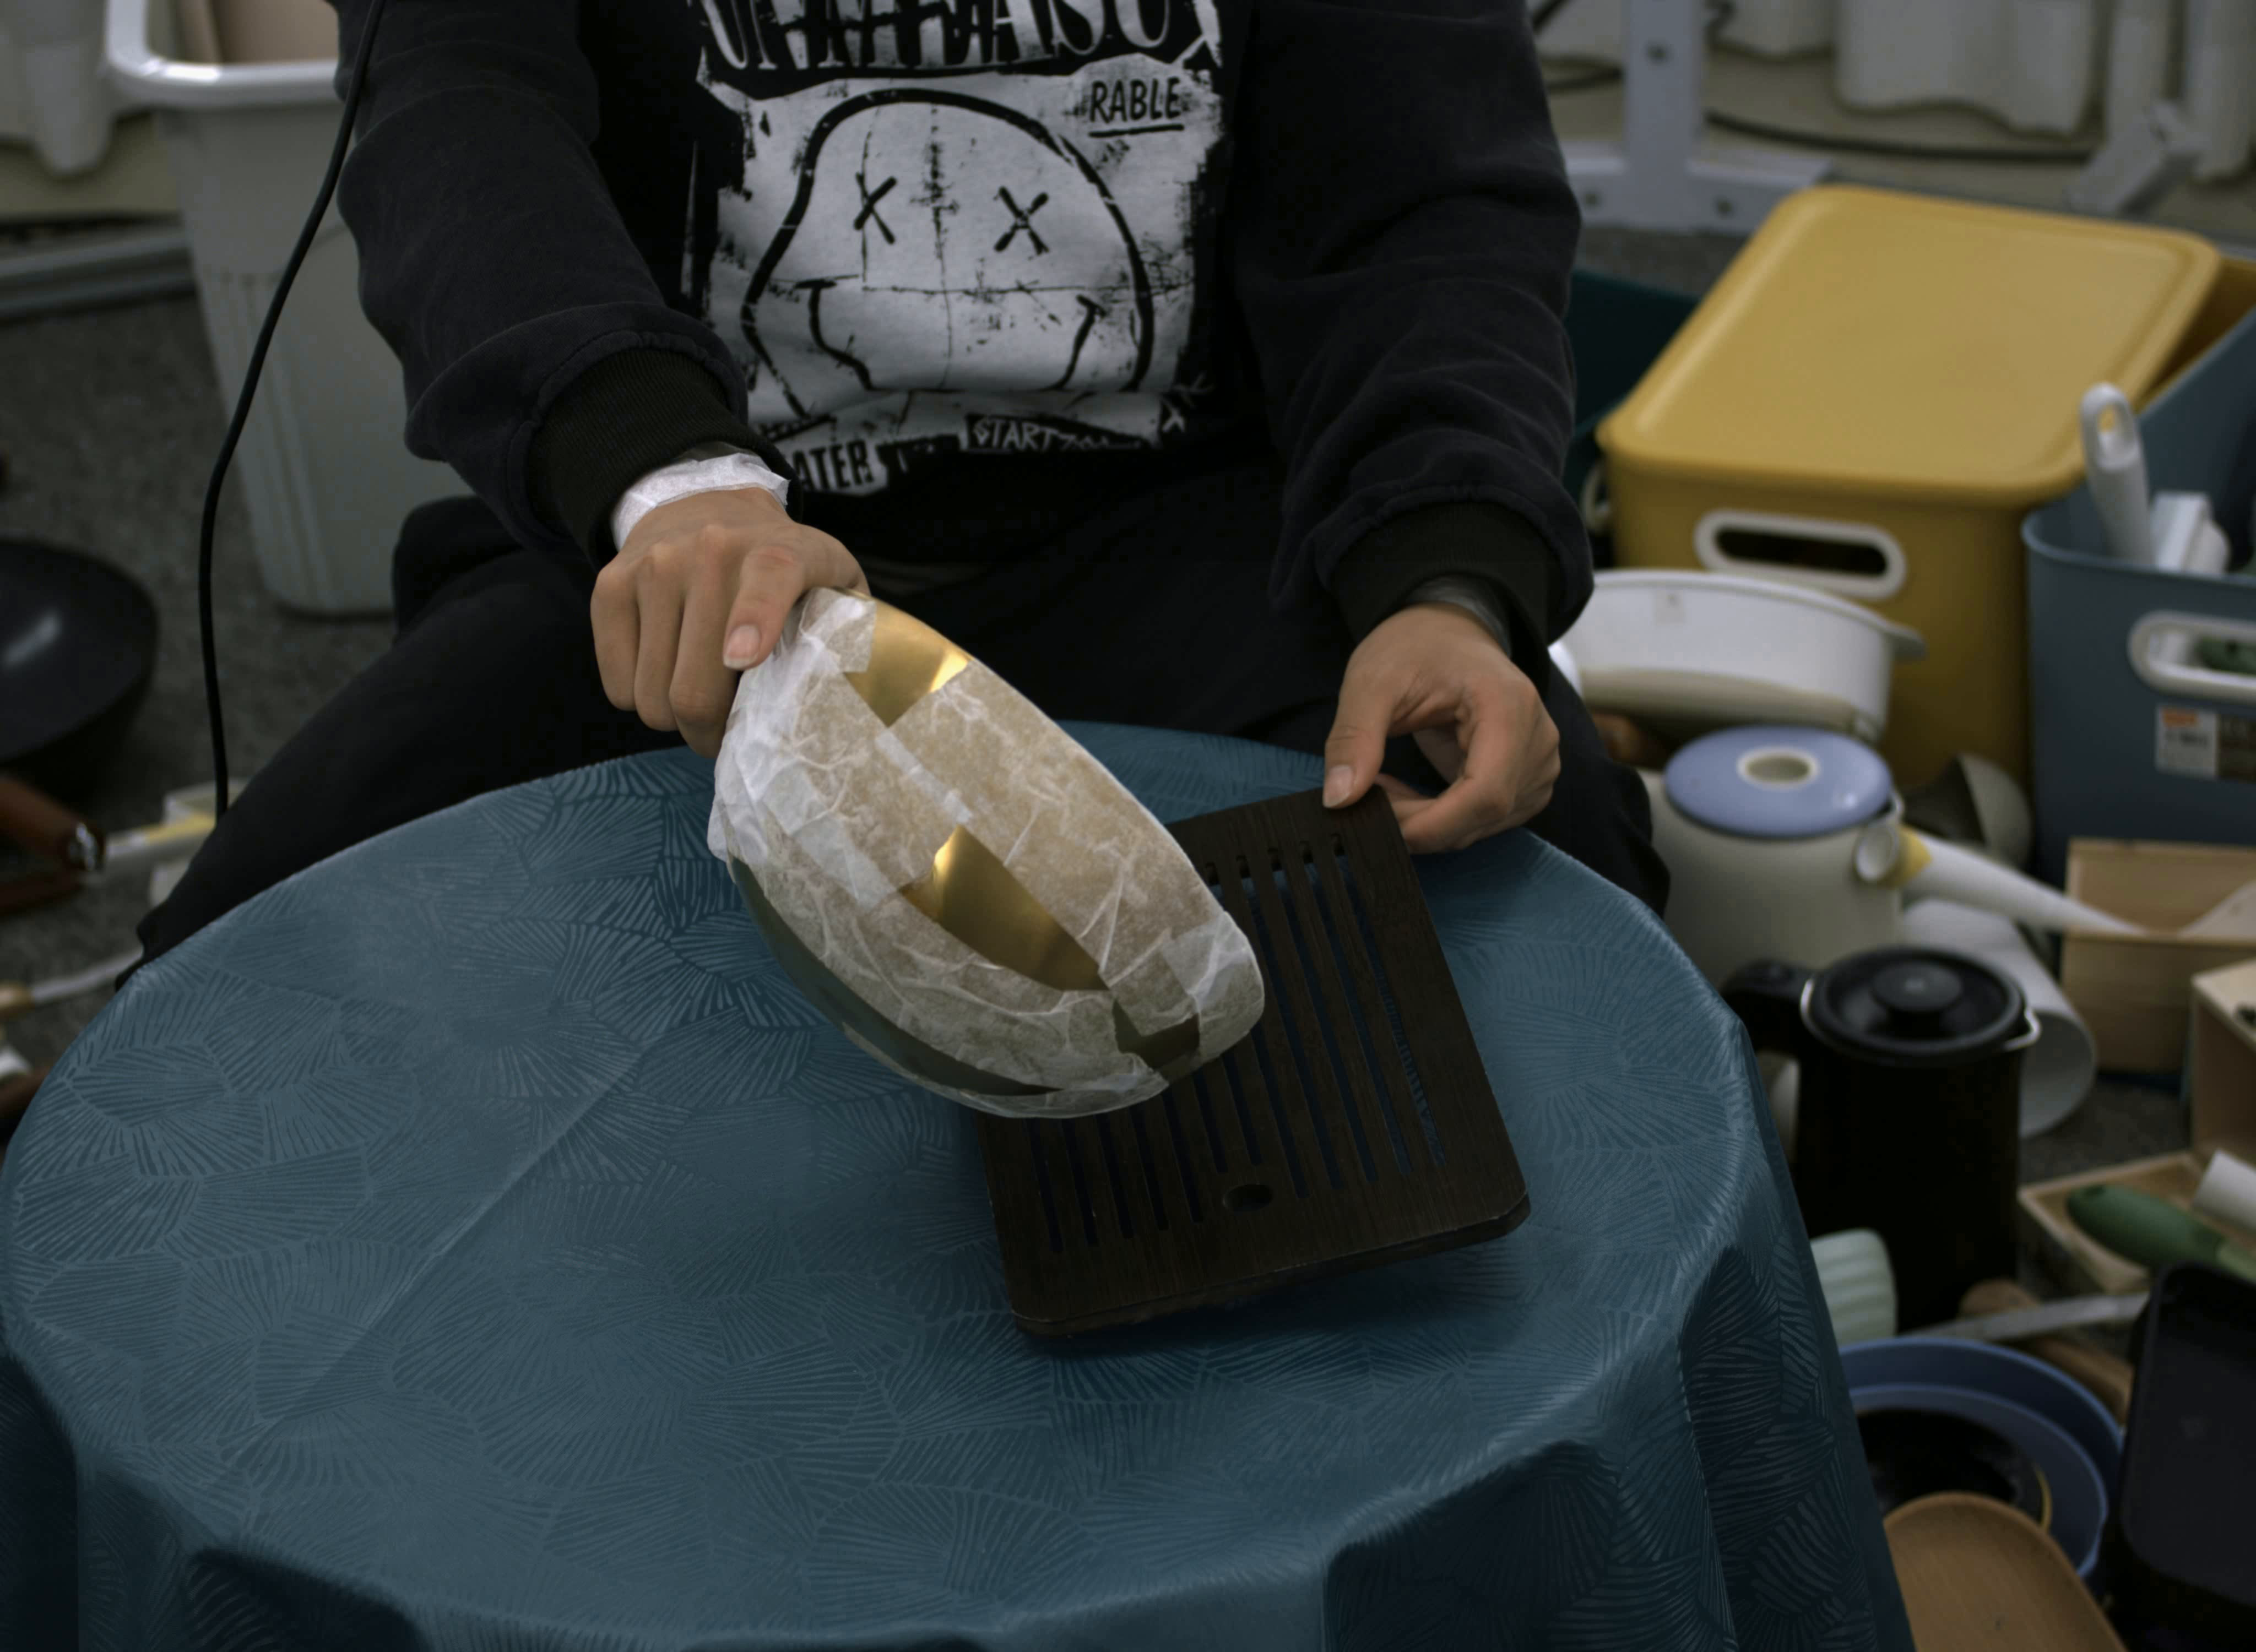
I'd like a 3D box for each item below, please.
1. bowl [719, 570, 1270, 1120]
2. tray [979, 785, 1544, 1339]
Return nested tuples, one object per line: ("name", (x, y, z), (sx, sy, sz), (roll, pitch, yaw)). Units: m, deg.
("bowl", (-0.060, 0.026, 1.787), (0.095, 0.212, 0.215), (-47, 43, -14))
("tray", (0.033, 0.077, 1.903), (0.169, 0.018, 0.310), (-12, 27, -1))
